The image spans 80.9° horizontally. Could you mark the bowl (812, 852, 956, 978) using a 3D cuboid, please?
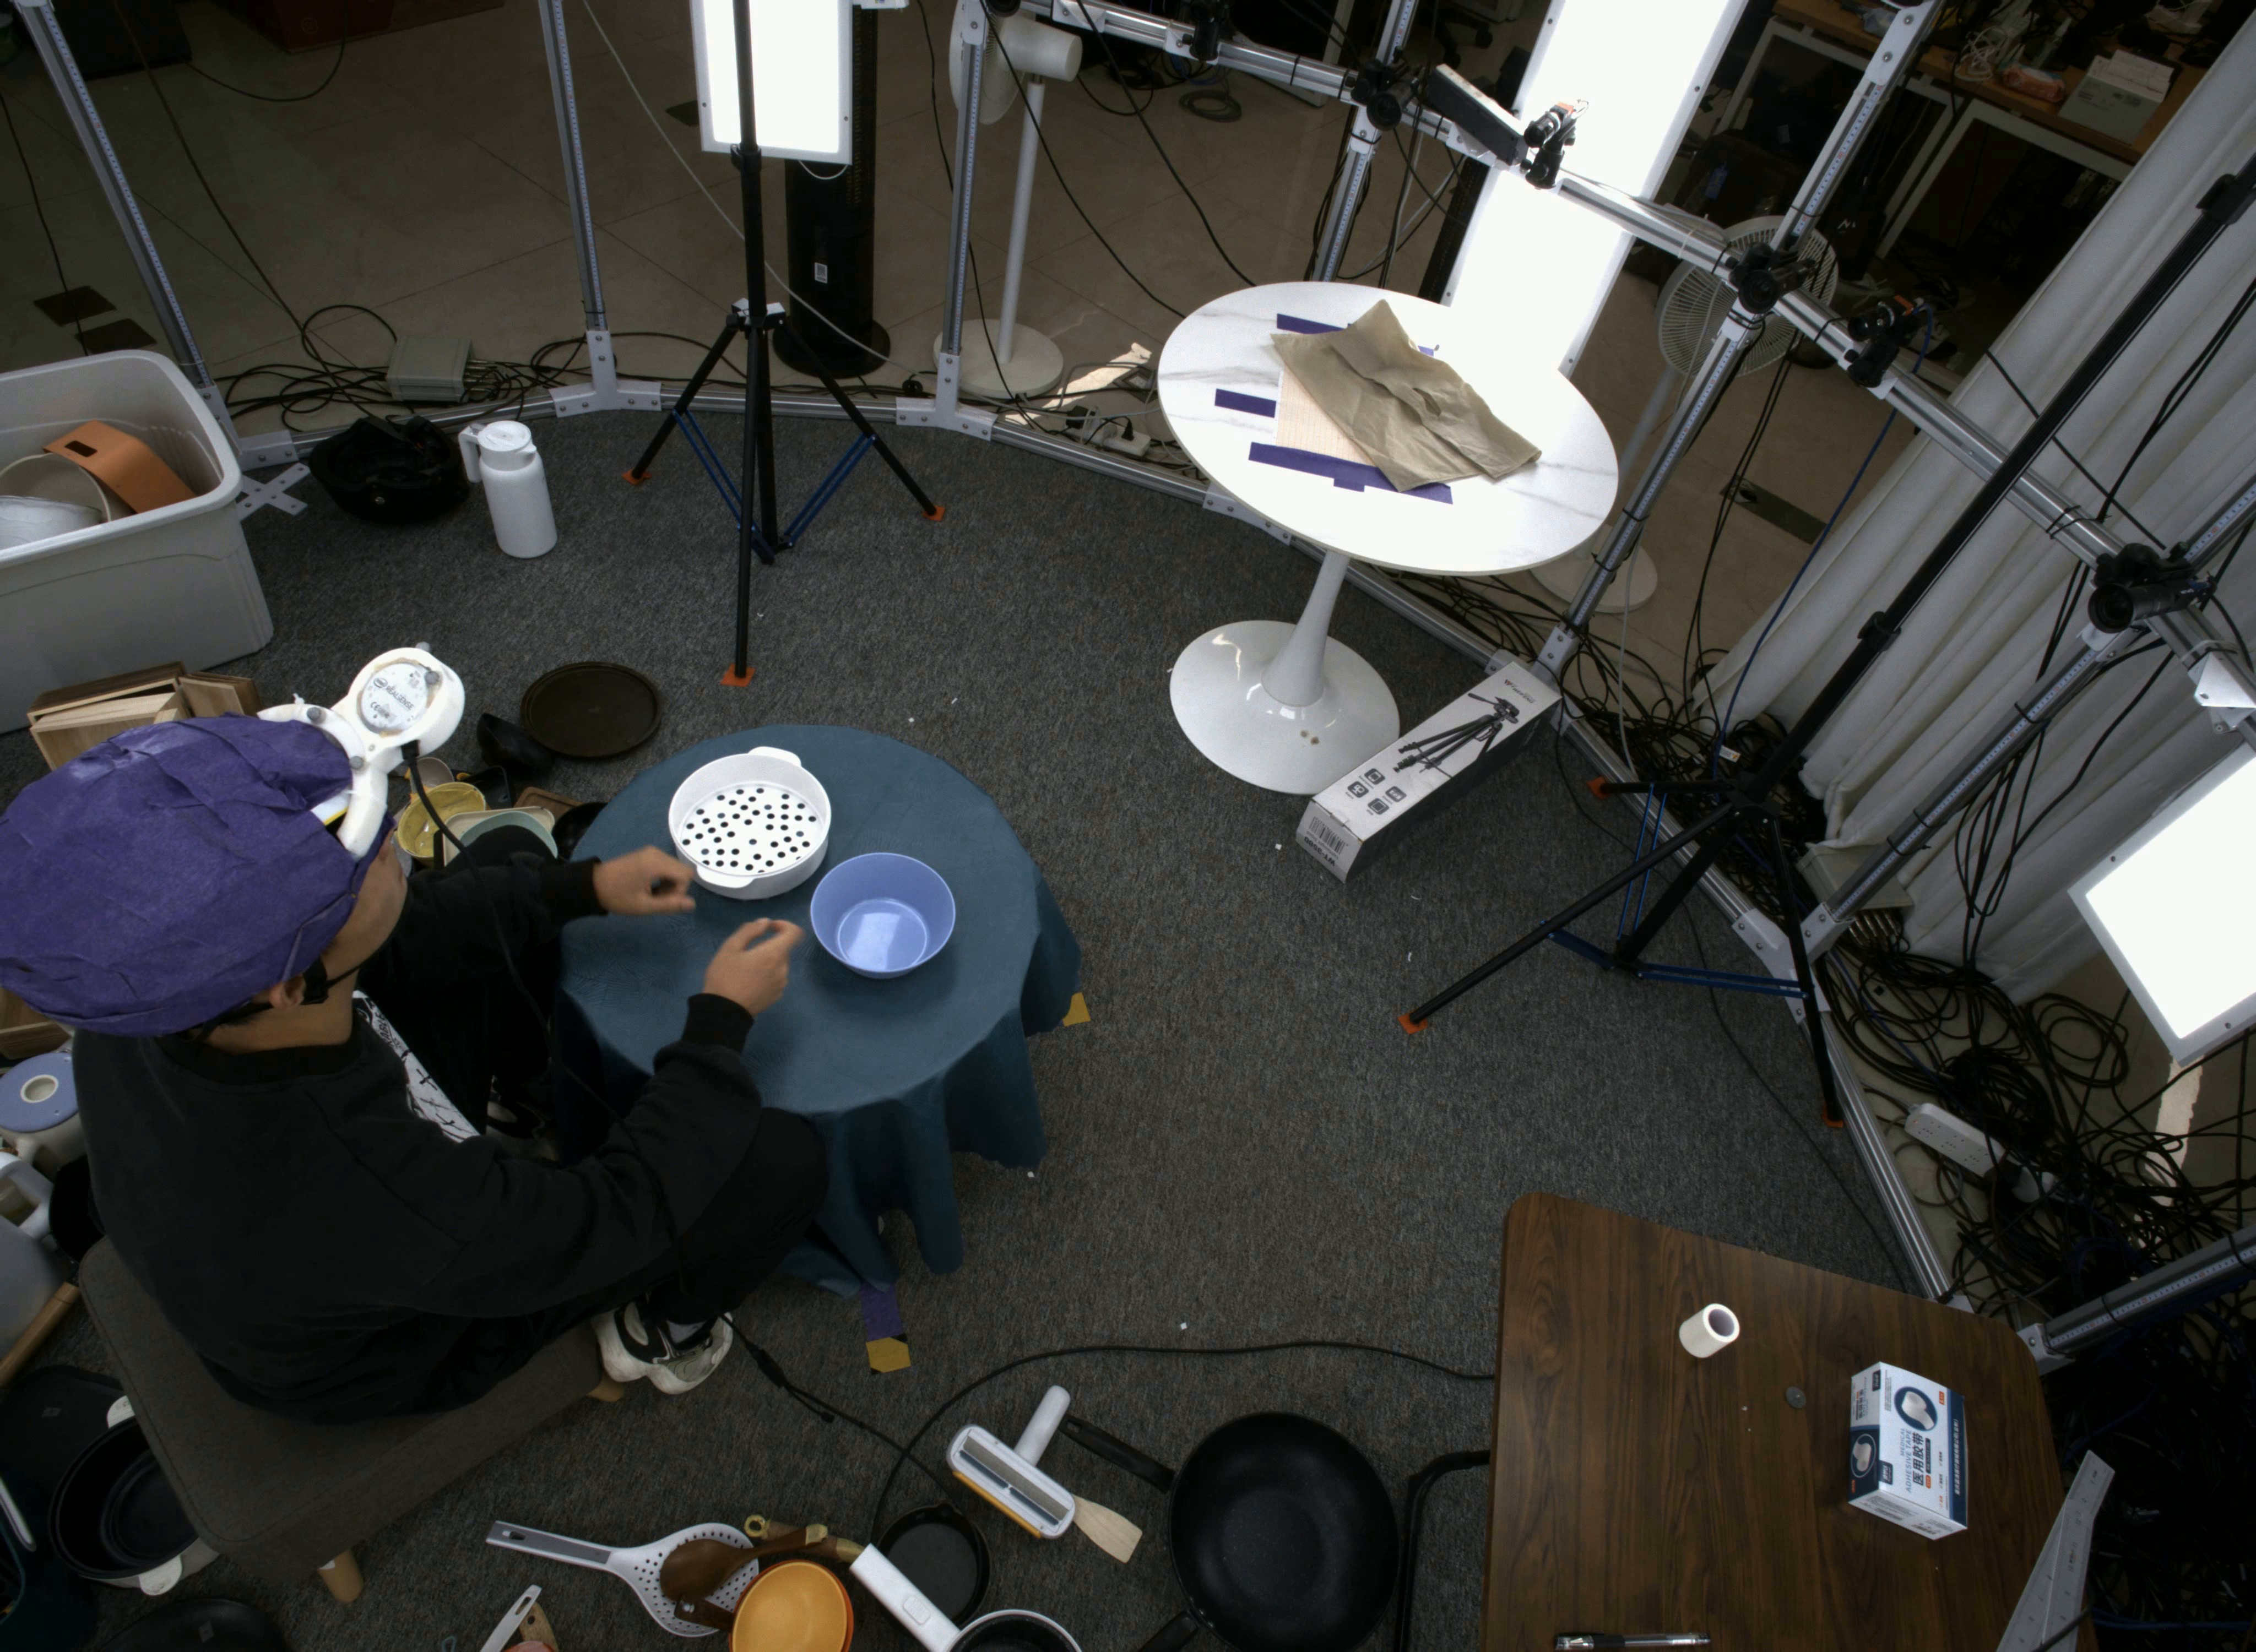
[{"bbox_3d":[-0.304,0.121,1.624,0.175,0.072,0.173,7,52,-7],"label":"bowl"}]

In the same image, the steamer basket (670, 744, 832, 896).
[{"bbox_3d":[-0.485,-0.003,1.671,0.201,0.071,0.227,13,49,-4],"label":"steamer basket"}]
